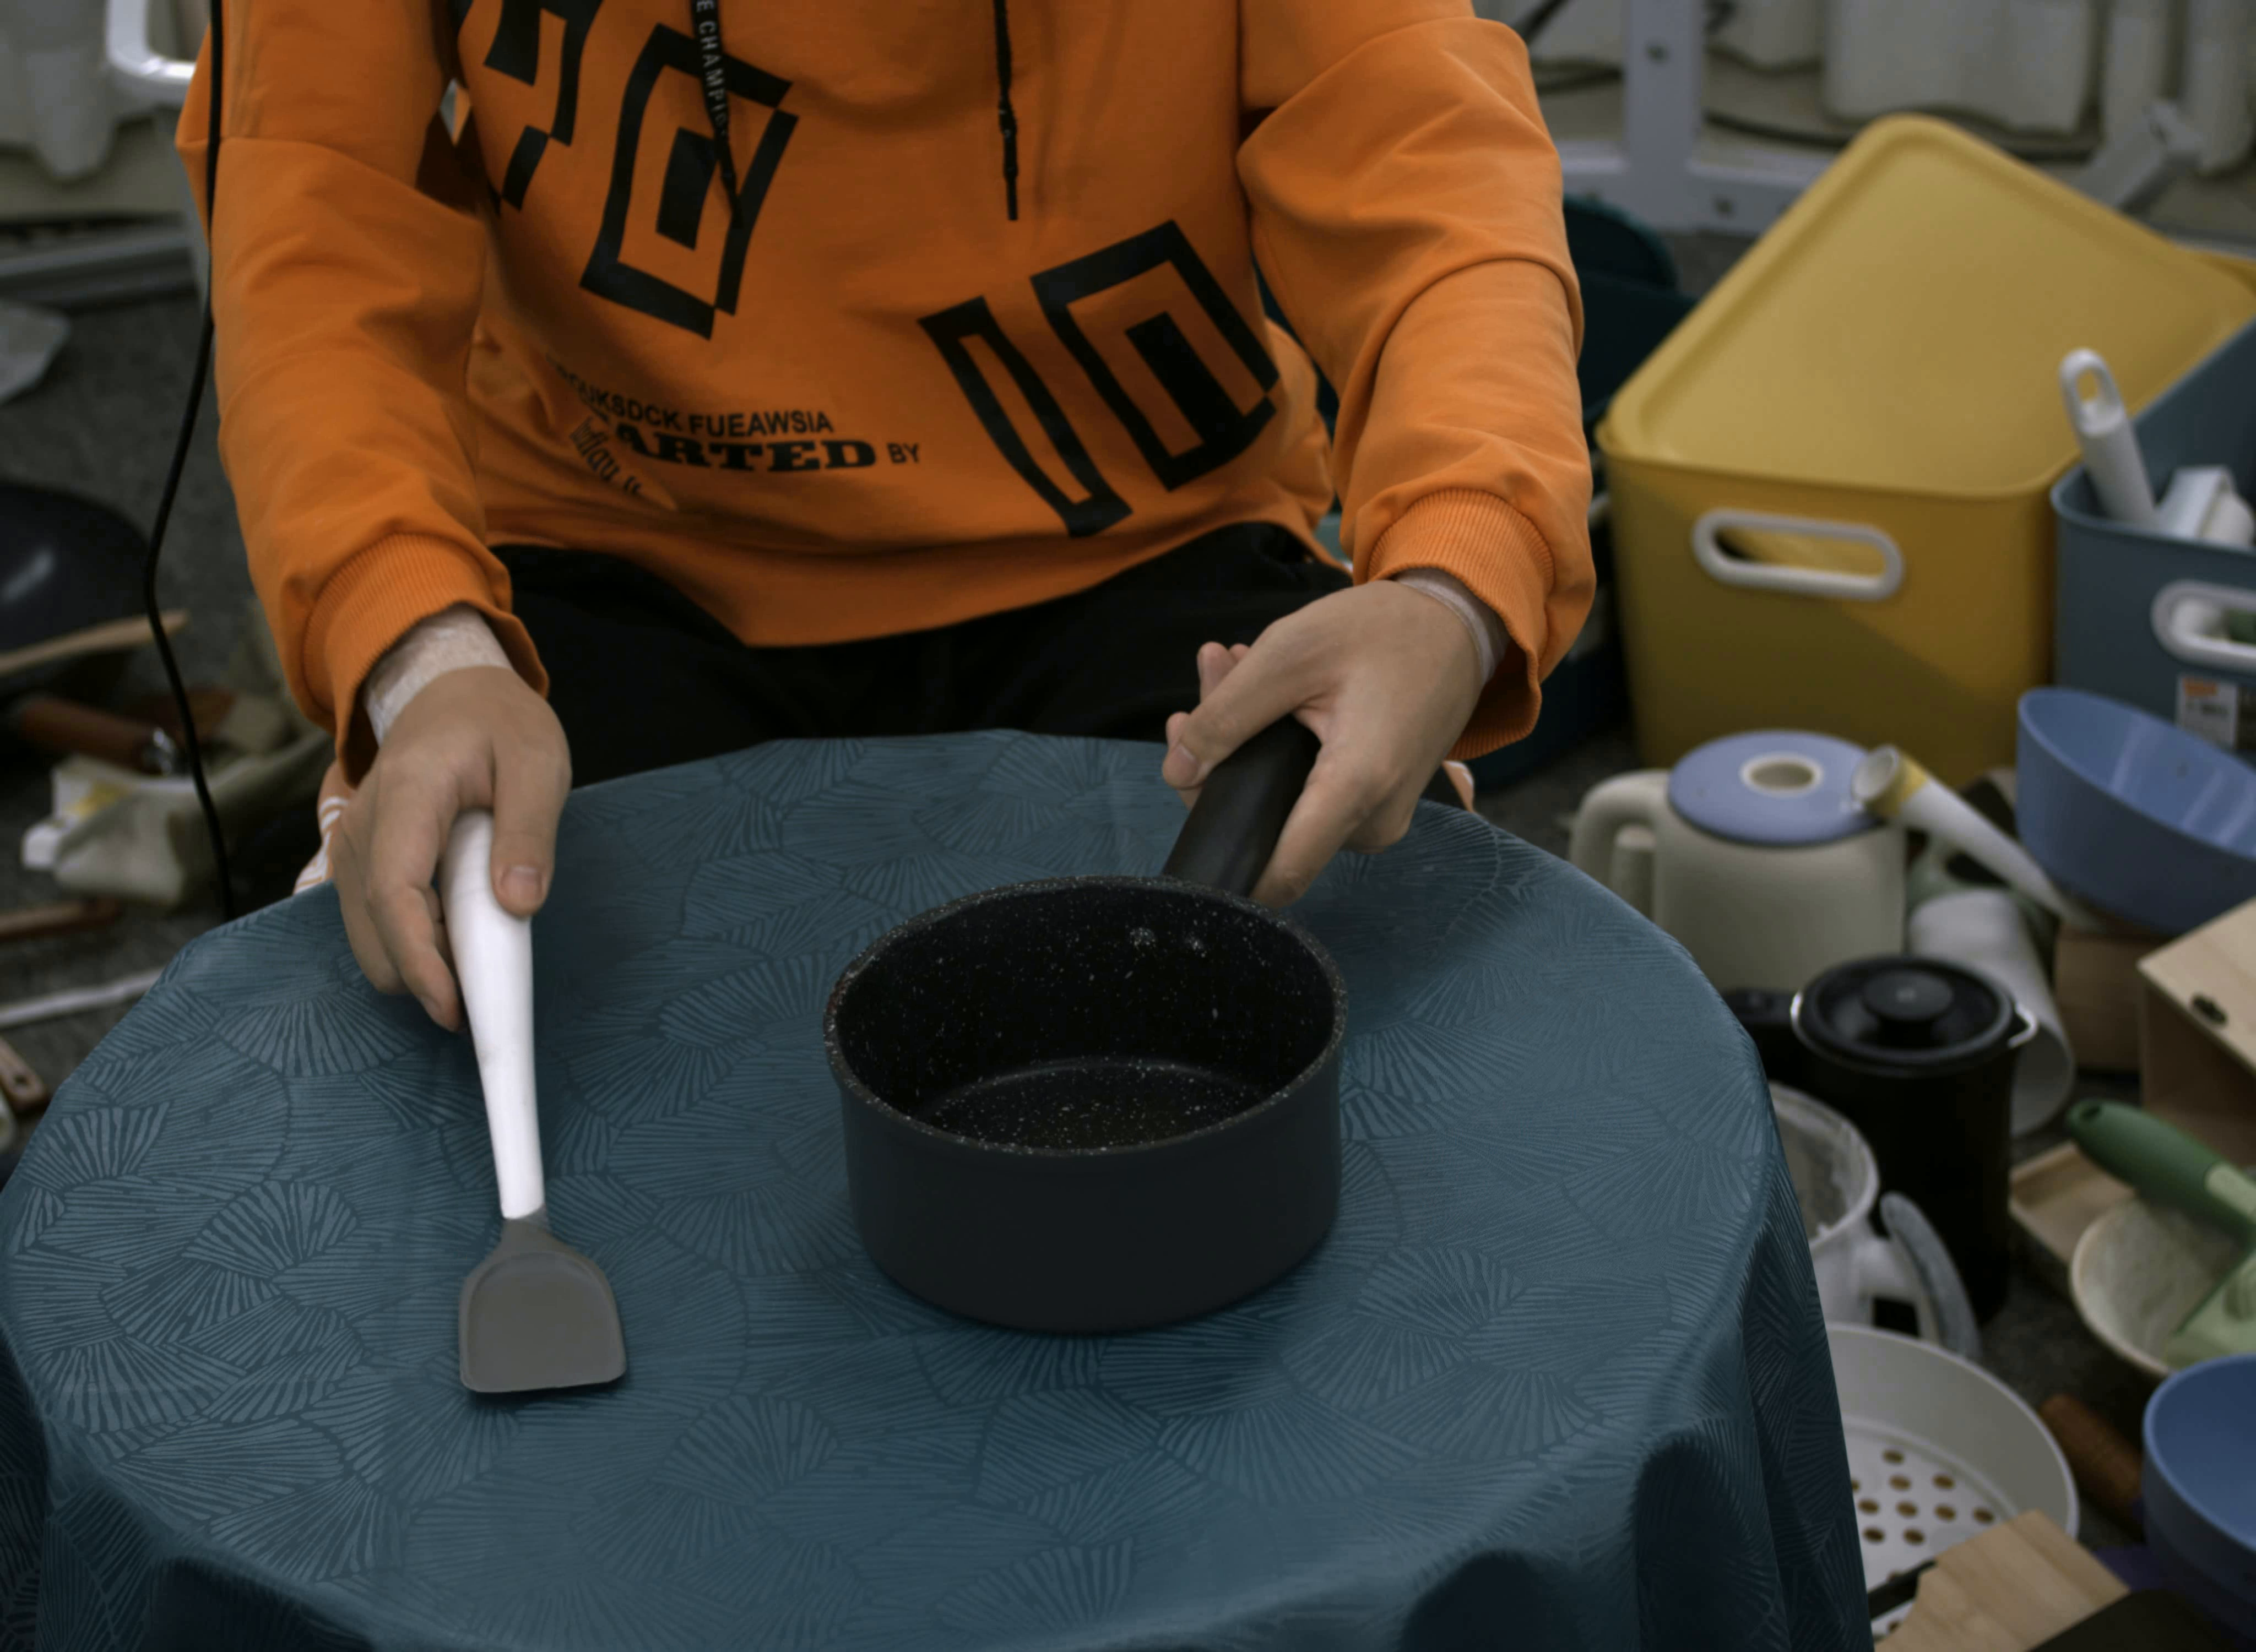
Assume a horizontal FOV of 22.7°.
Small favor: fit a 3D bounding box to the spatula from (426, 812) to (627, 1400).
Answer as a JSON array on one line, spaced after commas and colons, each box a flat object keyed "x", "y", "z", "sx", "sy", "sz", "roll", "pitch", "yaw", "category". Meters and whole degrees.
[{"x": -0.208, "y": 0.096, "z": 1.876, "sx": 0.058, "sy": 0.032, "sz": 0.292, "roll": 1, "pitch": 37, "yaw": -13, "category": "spatula"}]

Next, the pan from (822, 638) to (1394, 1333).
[{"x": 0.018, "y": 0.050, "z": 1.899, "sx": 0.171, "sy": 0.085, "sz": 0.335, "roll": 9, "pitch": 33, "yaw": 20, "category": "pan"}]
